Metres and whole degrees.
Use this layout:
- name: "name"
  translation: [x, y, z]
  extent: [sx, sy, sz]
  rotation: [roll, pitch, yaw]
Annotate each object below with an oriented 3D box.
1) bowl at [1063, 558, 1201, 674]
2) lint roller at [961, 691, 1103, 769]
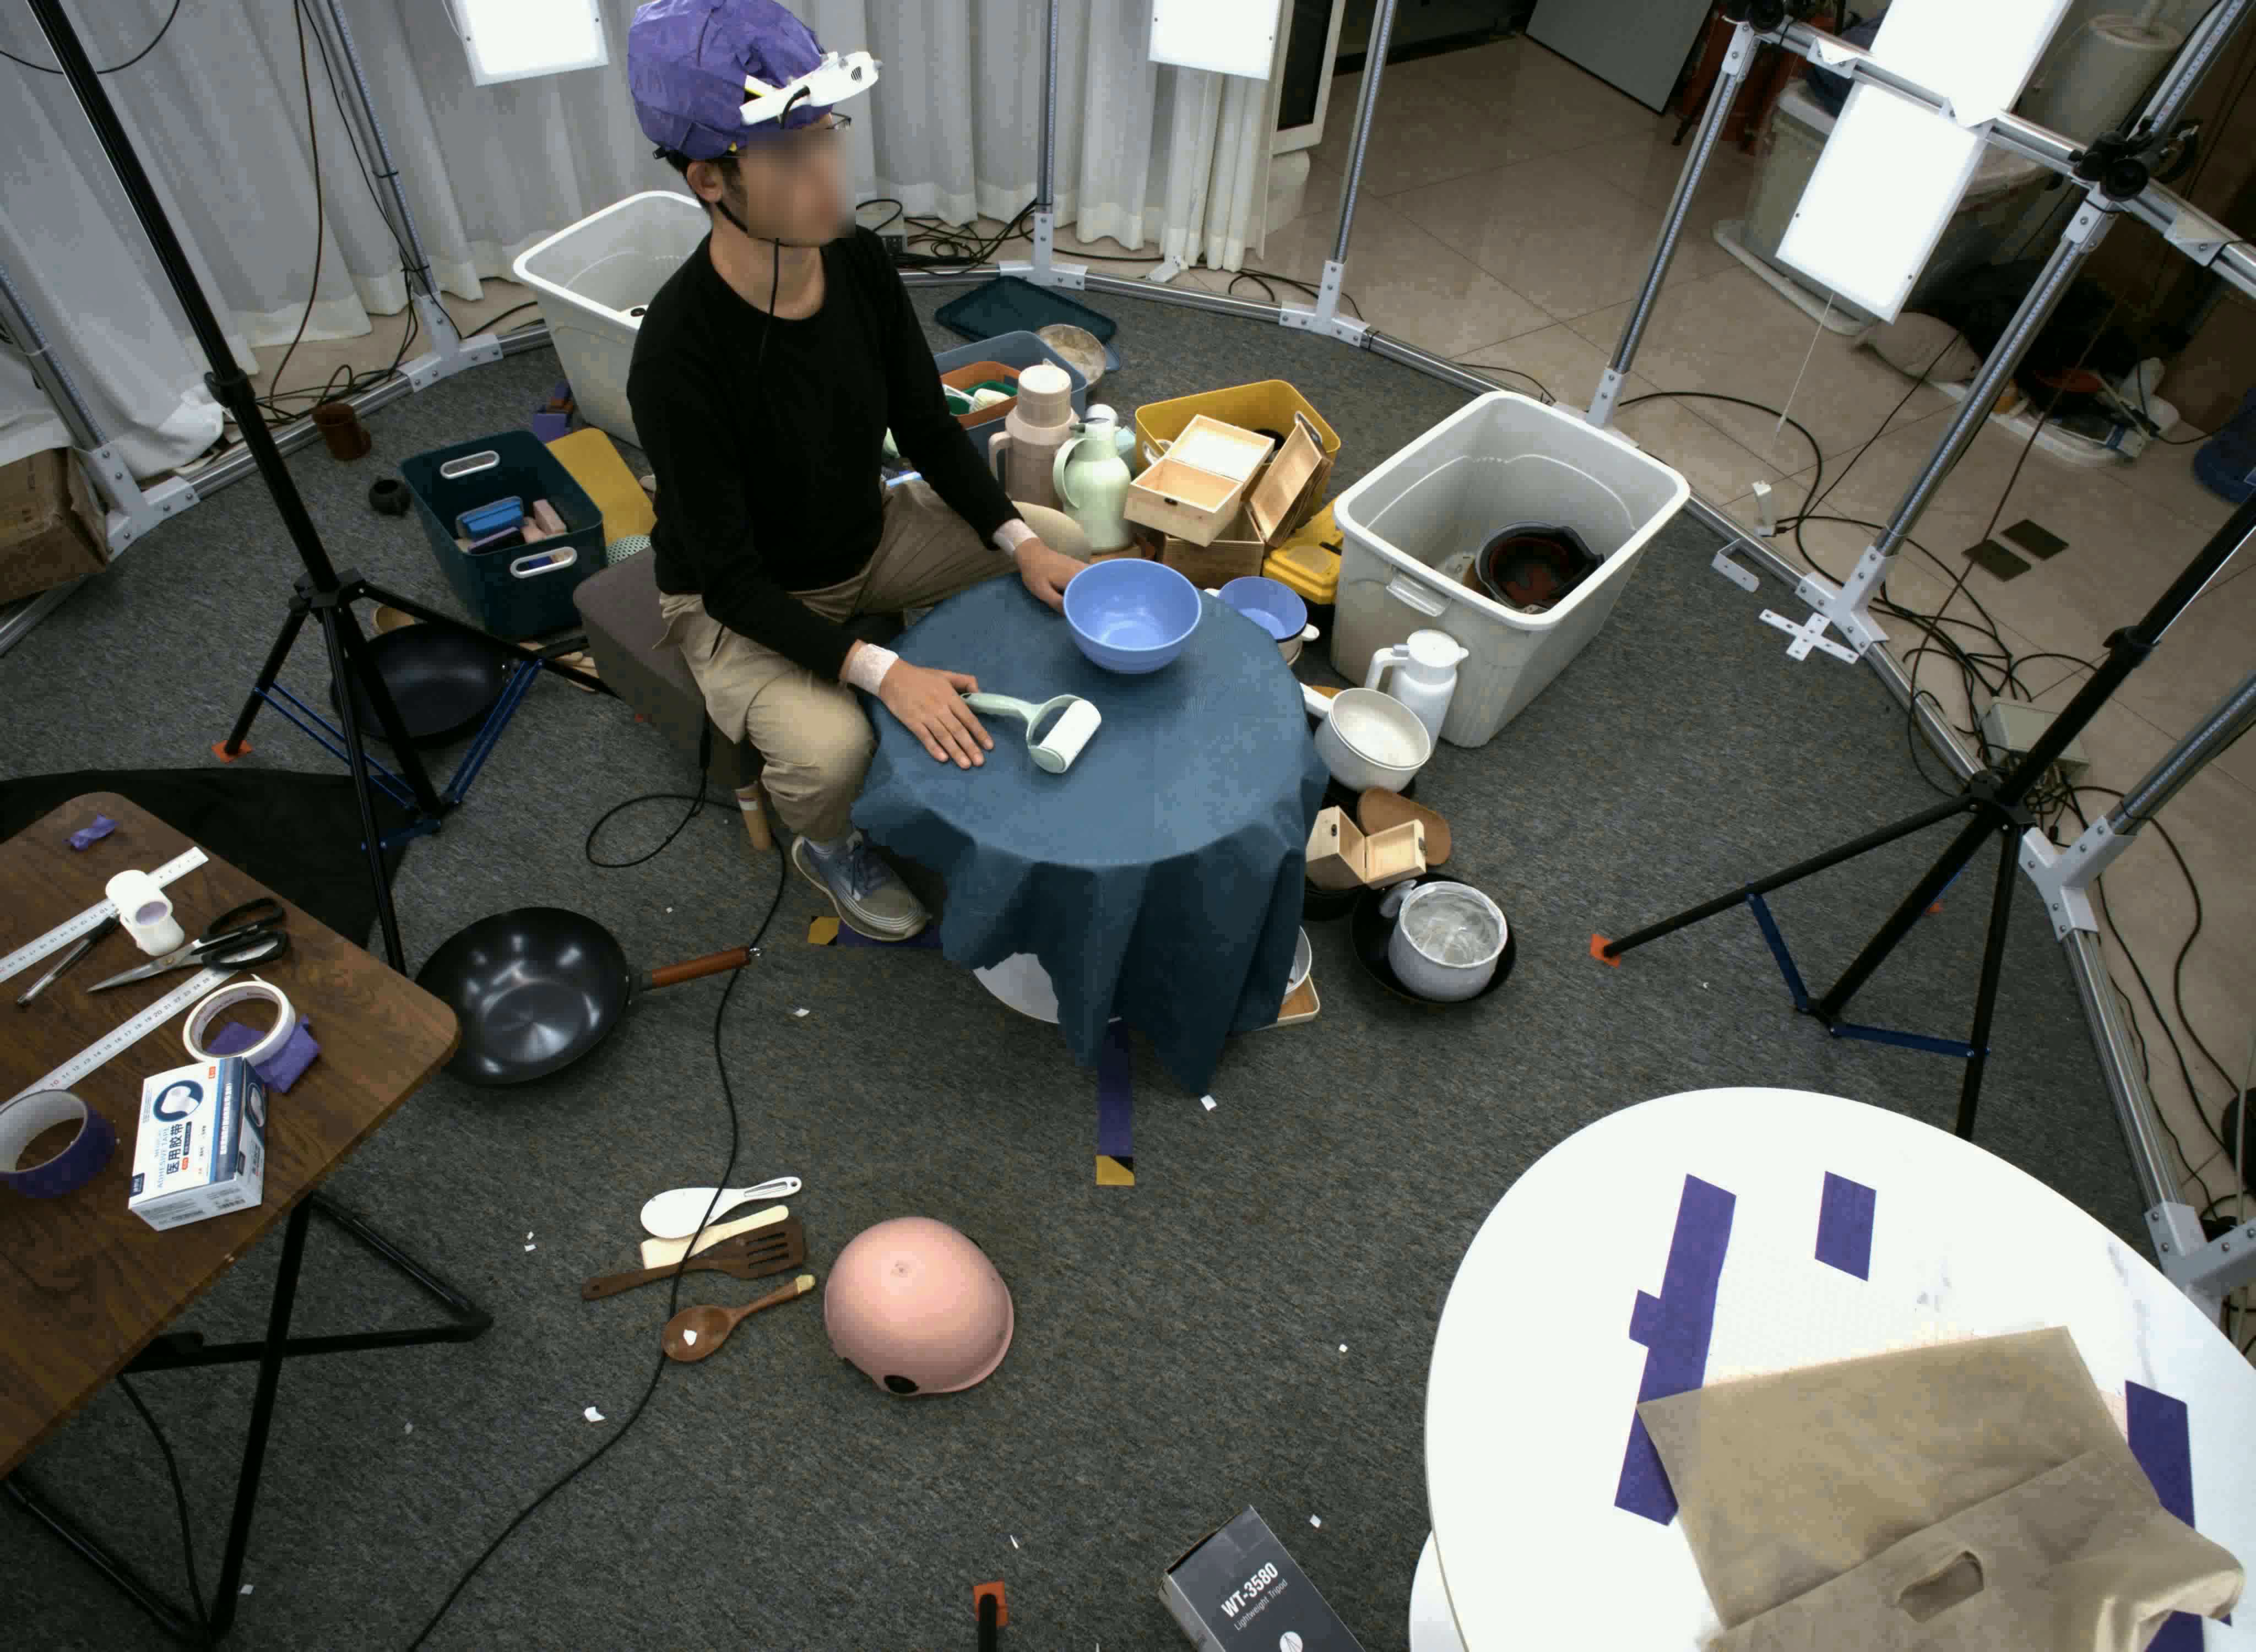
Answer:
- name: "bowl"
  translation: [0.004, -0.288, 1.858]
  extent: [0.196, 0.093, 0.201]
  rotation: [1, 50, -2]
- name: "lint roller"
  translation: [-0.142, -0.155, 1.766]
  extent: [0.199, 0.047, 0.118]
  rotation: [22, 52, 16]
